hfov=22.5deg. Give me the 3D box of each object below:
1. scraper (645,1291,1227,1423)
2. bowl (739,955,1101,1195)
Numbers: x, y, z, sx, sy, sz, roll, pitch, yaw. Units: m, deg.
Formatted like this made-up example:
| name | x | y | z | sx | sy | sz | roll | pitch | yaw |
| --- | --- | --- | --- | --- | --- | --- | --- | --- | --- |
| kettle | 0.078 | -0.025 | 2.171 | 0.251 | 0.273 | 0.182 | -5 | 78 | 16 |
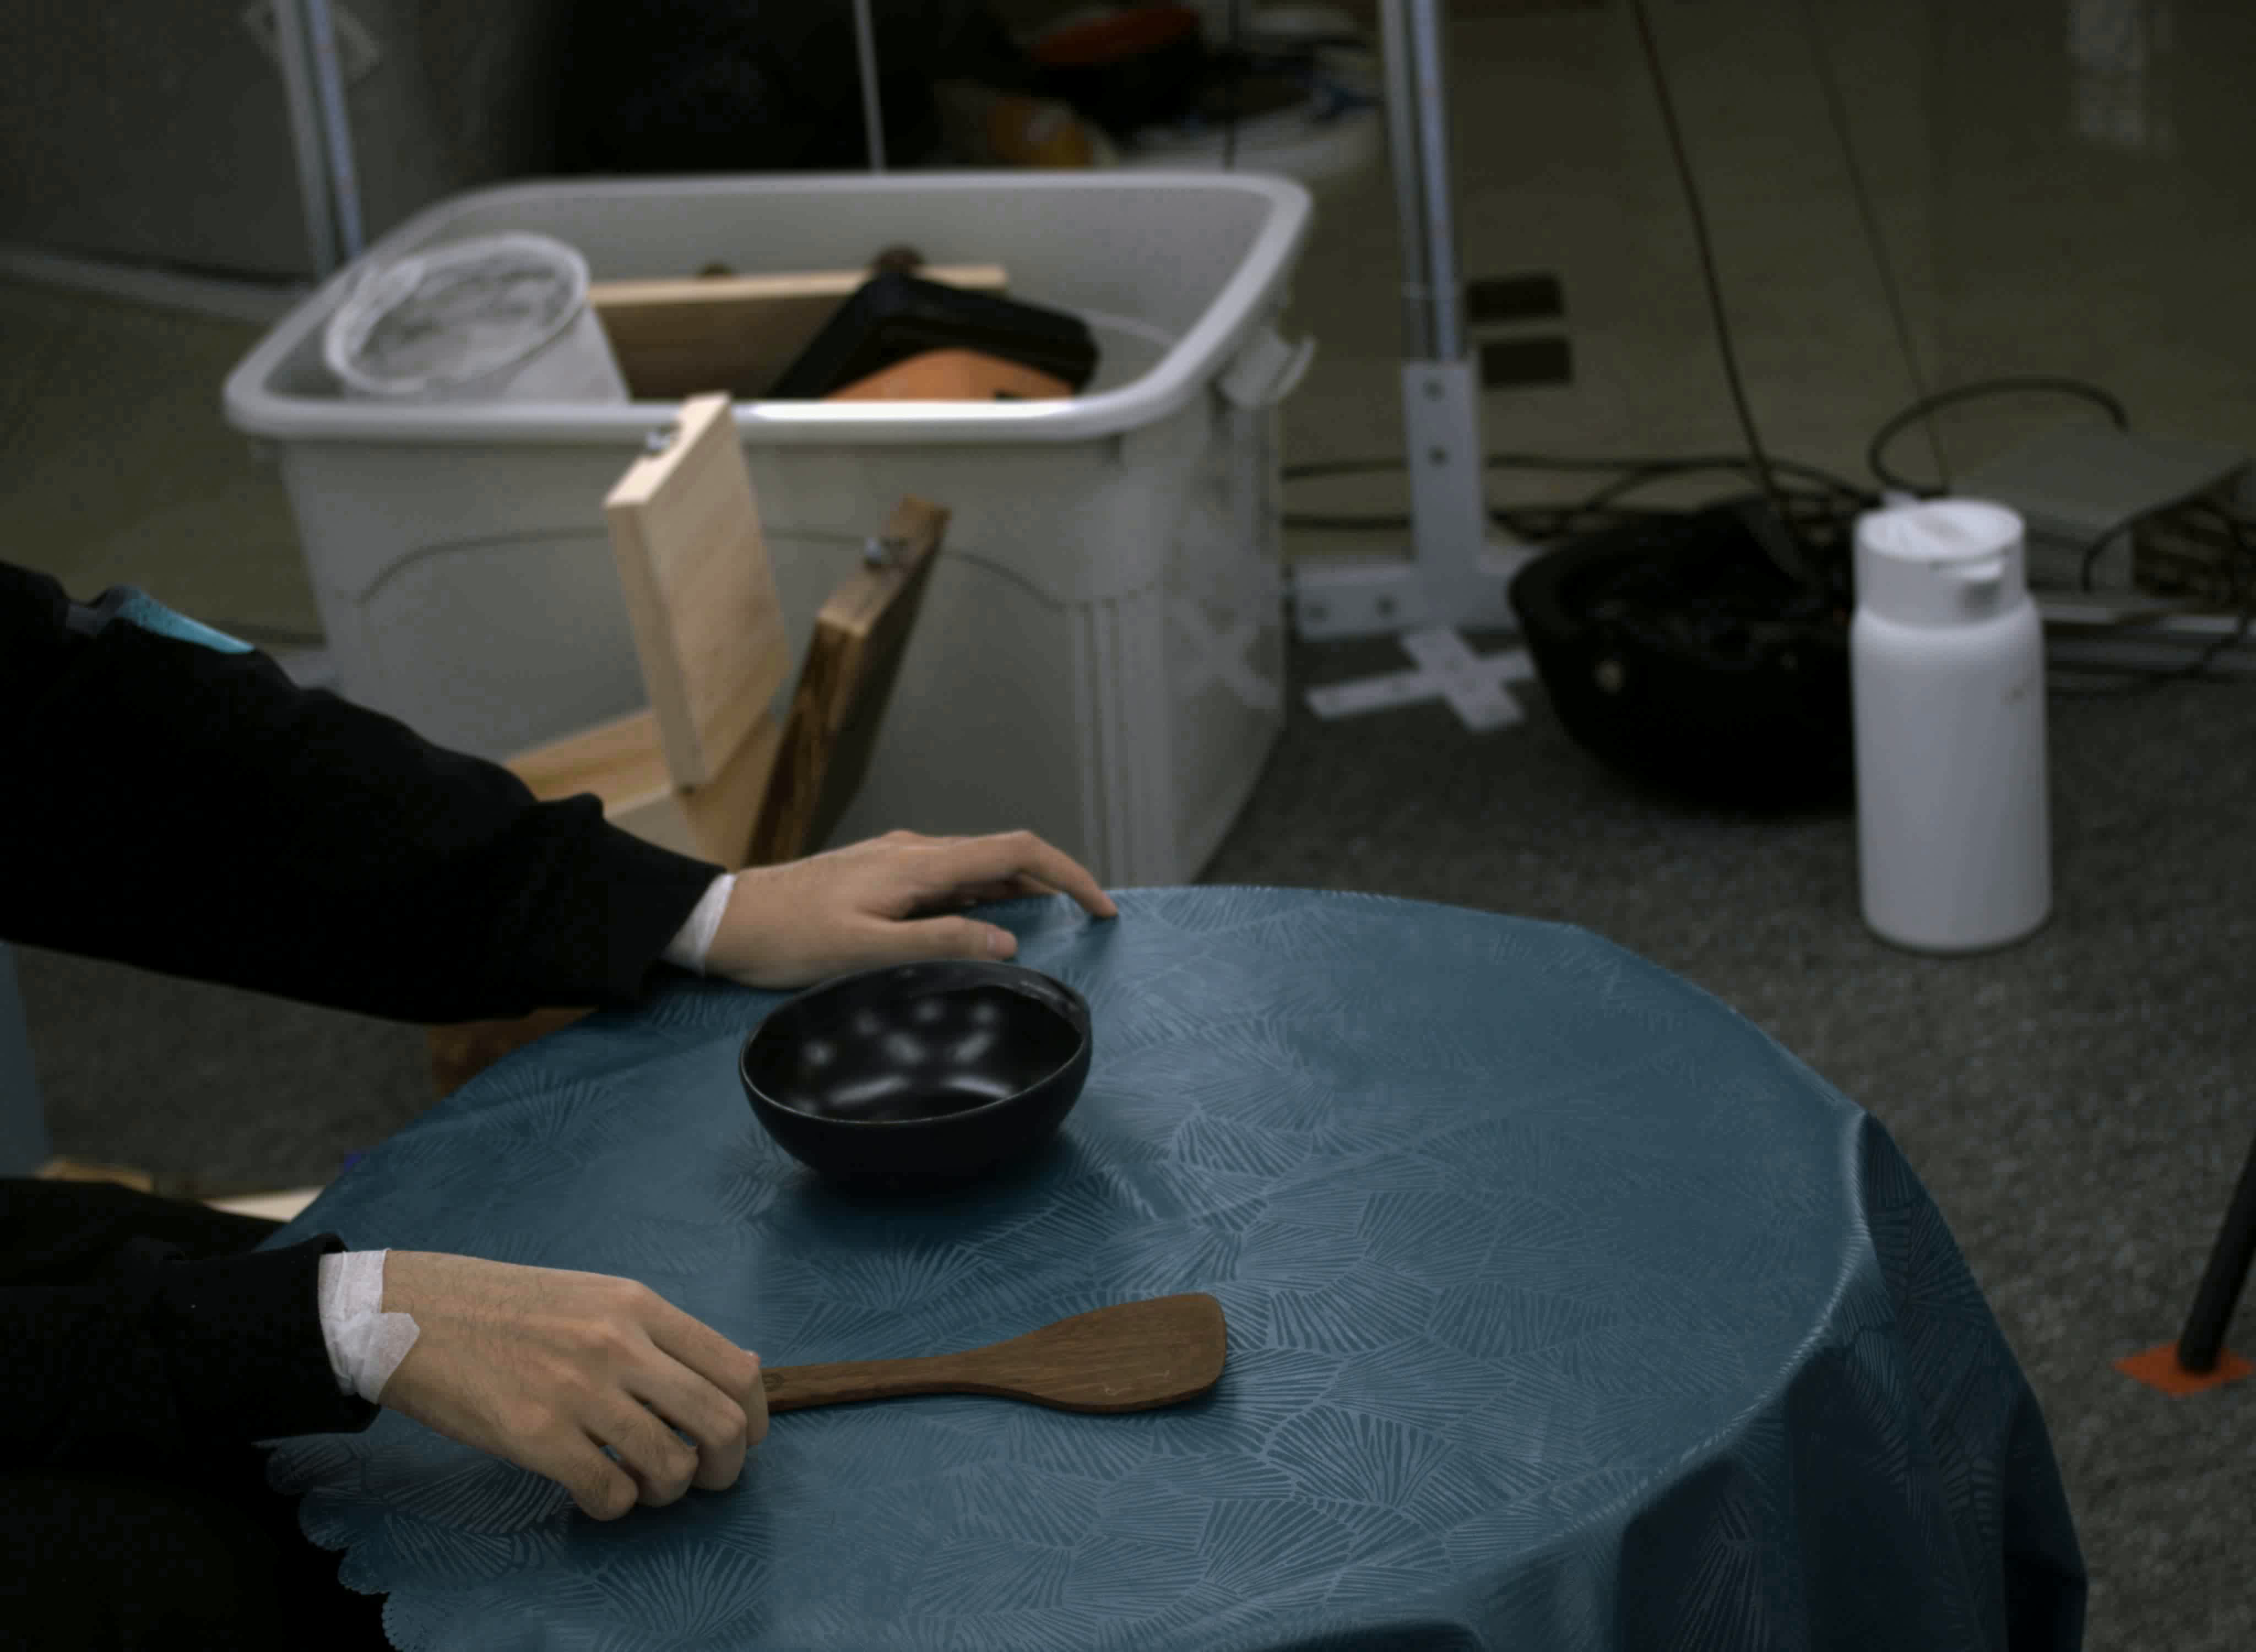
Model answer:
| name | x | y | z | sx | sy | sz | roll | pitch | yaw |
| --- | --- | --- | --- | --- | --- | --- | --- | --- | --- |
| scraper | -0.069 | 0.197 | 2.036 | 0.211 | 0.011 | 0.075 | -6 | 24 | 3 |
| bowl | -0.078 | 0.104 | 2.190 | 0.140 | 0.050 | 0.138 | -5 | 28 | 3 |
